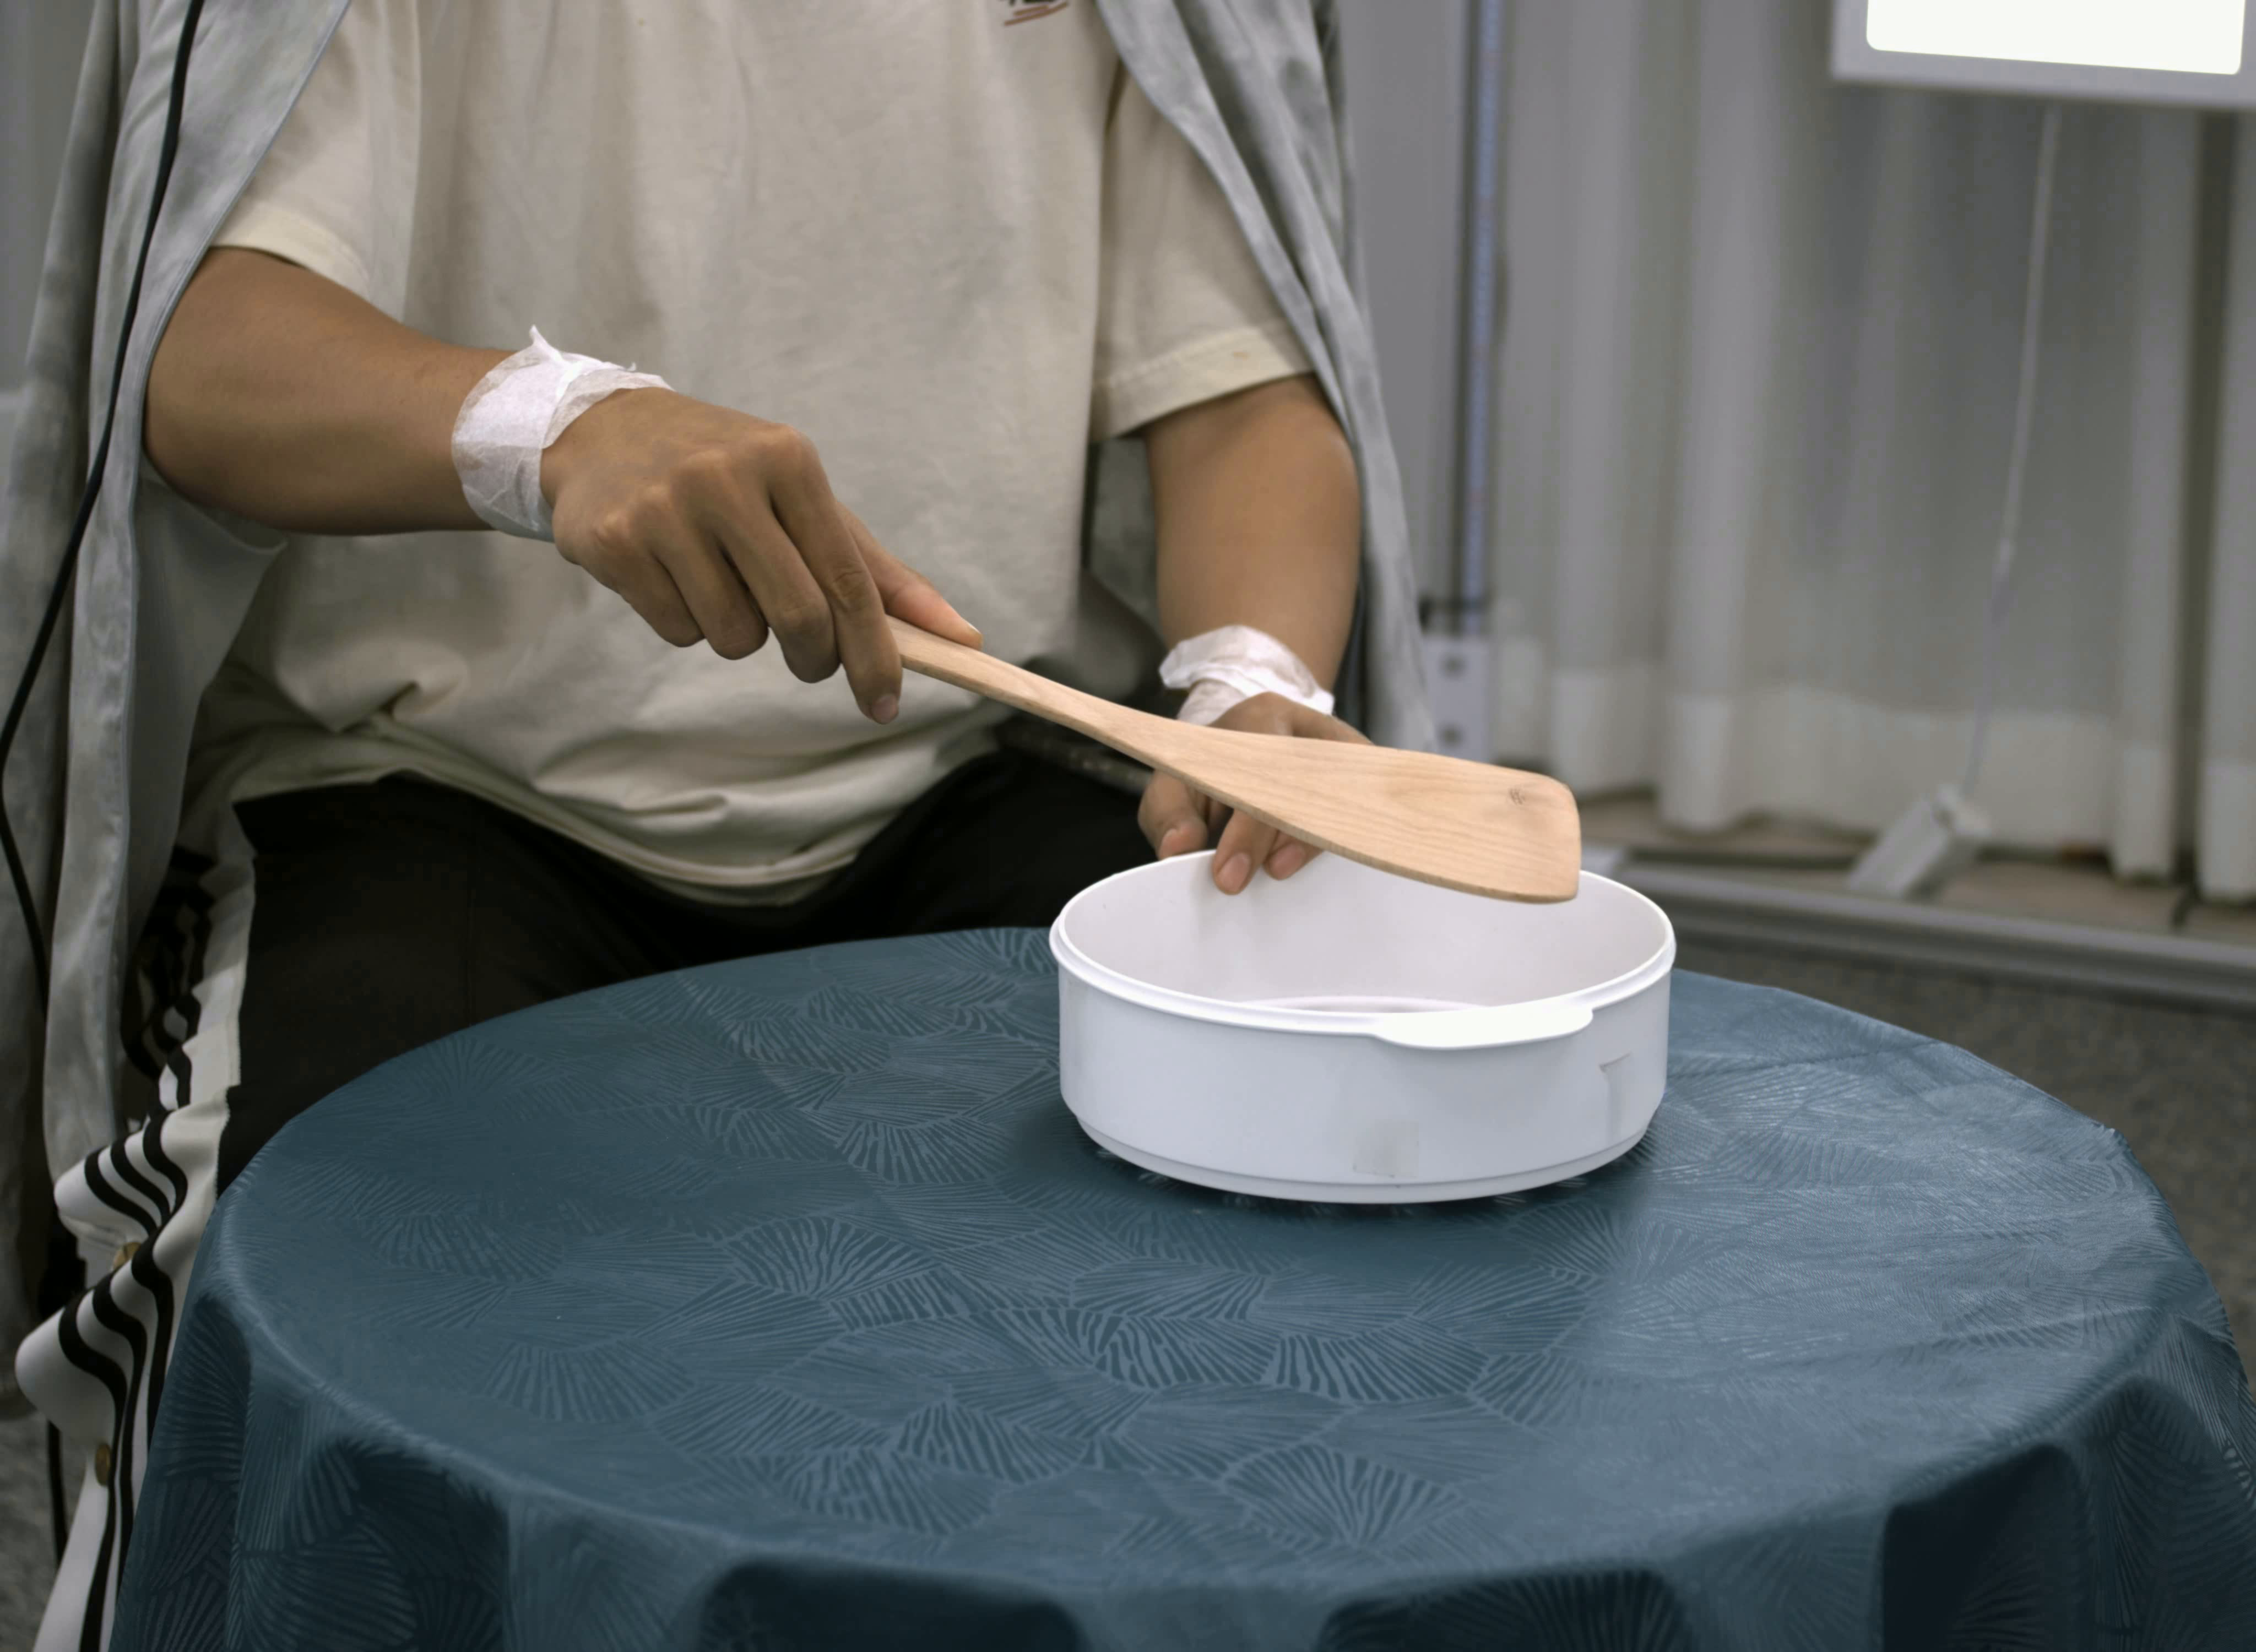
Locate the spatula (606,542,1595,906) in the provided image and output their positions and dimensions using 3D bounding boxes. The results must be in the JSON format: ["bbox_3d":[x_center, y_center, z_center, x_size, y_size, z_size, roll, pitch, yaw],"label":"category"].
[{"bbox_3d":[-0.008,-0.038,1.644,0.326,0.016,0.079,18,30,3],"label":"spatula"}]

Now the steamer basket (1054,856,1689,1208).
[{"bbox_3d":[0.077,0.065,1.677,0.202,0.070,0.228,-4,15,-19],"label":"steamer basket"}]
